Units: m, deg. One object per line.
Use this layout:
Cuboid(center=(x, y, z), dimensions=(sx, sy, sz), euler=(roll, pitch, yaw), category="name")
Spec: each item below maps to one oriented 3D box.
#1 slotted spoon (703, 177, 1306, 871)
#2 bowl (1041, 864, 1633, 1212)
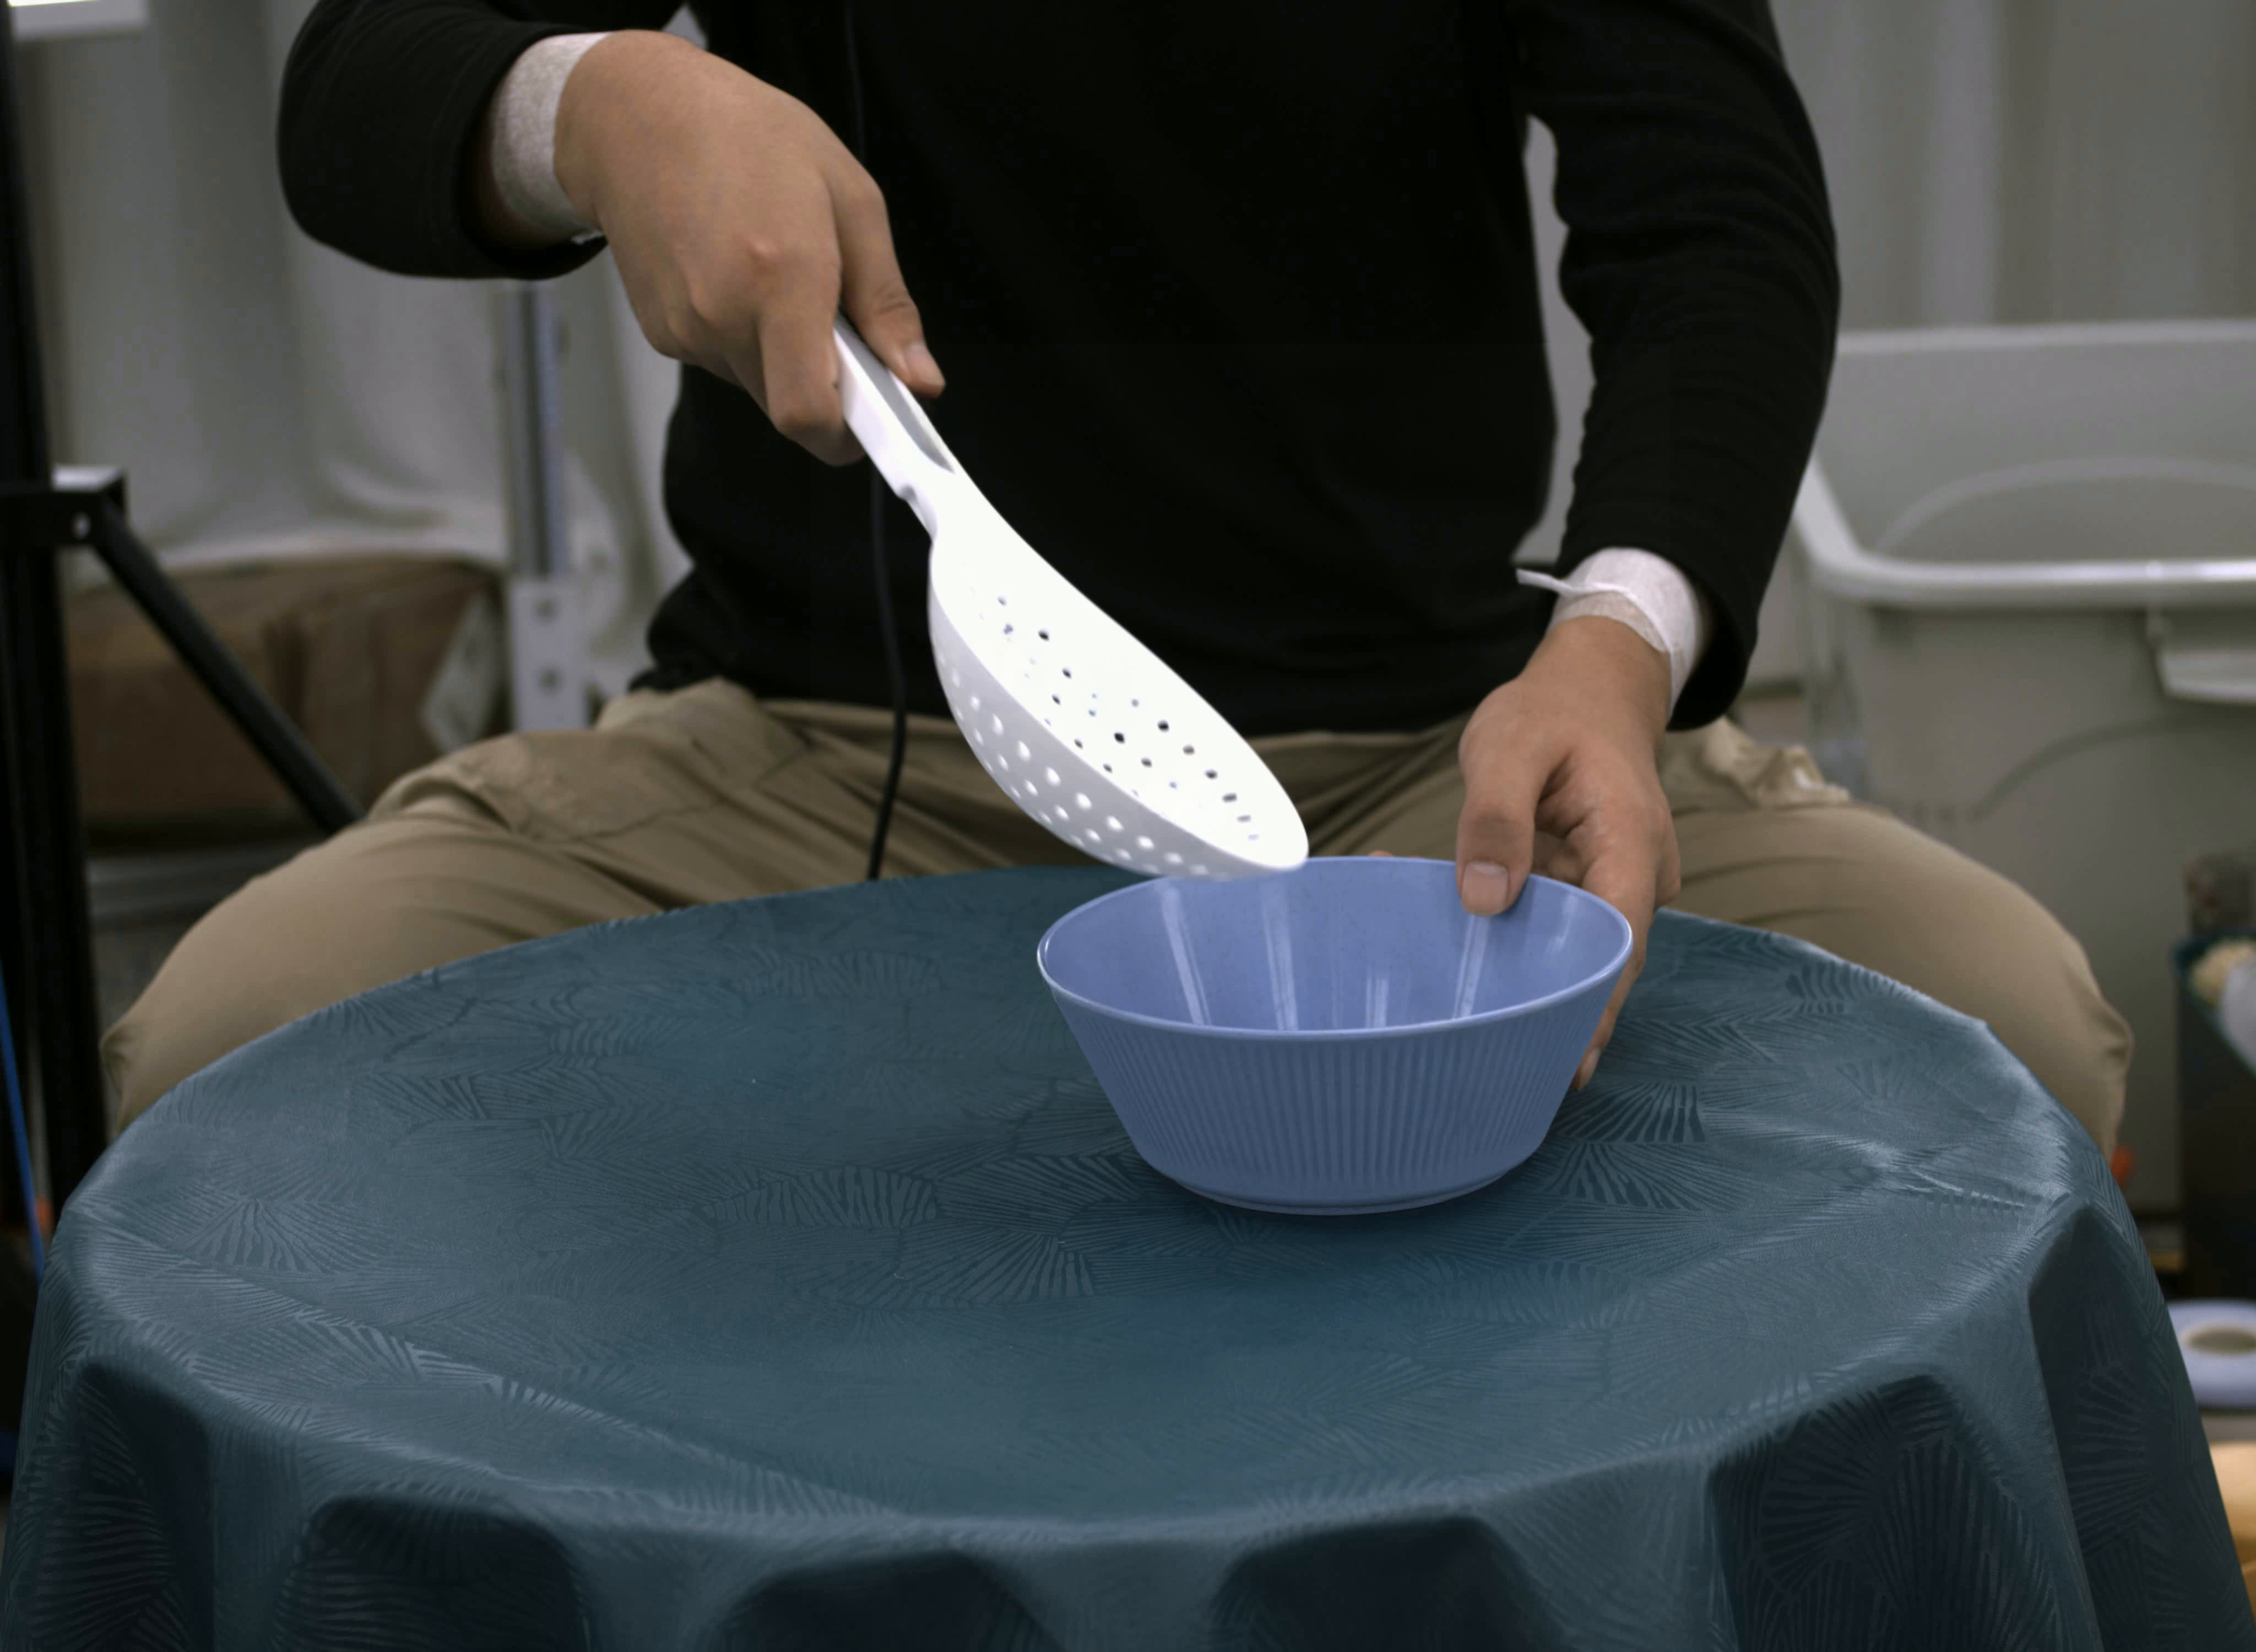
Cuboid(center=(-0.053, -0.097, 1.599), dimensions=(0.132, 0.046, 0.357), euler=(24, 26, -42), category="slotted spoon")
Cuboid(center=(0.062, 0.065, 1.572), dimensions=(0.175, 0.070, 0.177), euler=(-3, 14, -1), category="bowl")
